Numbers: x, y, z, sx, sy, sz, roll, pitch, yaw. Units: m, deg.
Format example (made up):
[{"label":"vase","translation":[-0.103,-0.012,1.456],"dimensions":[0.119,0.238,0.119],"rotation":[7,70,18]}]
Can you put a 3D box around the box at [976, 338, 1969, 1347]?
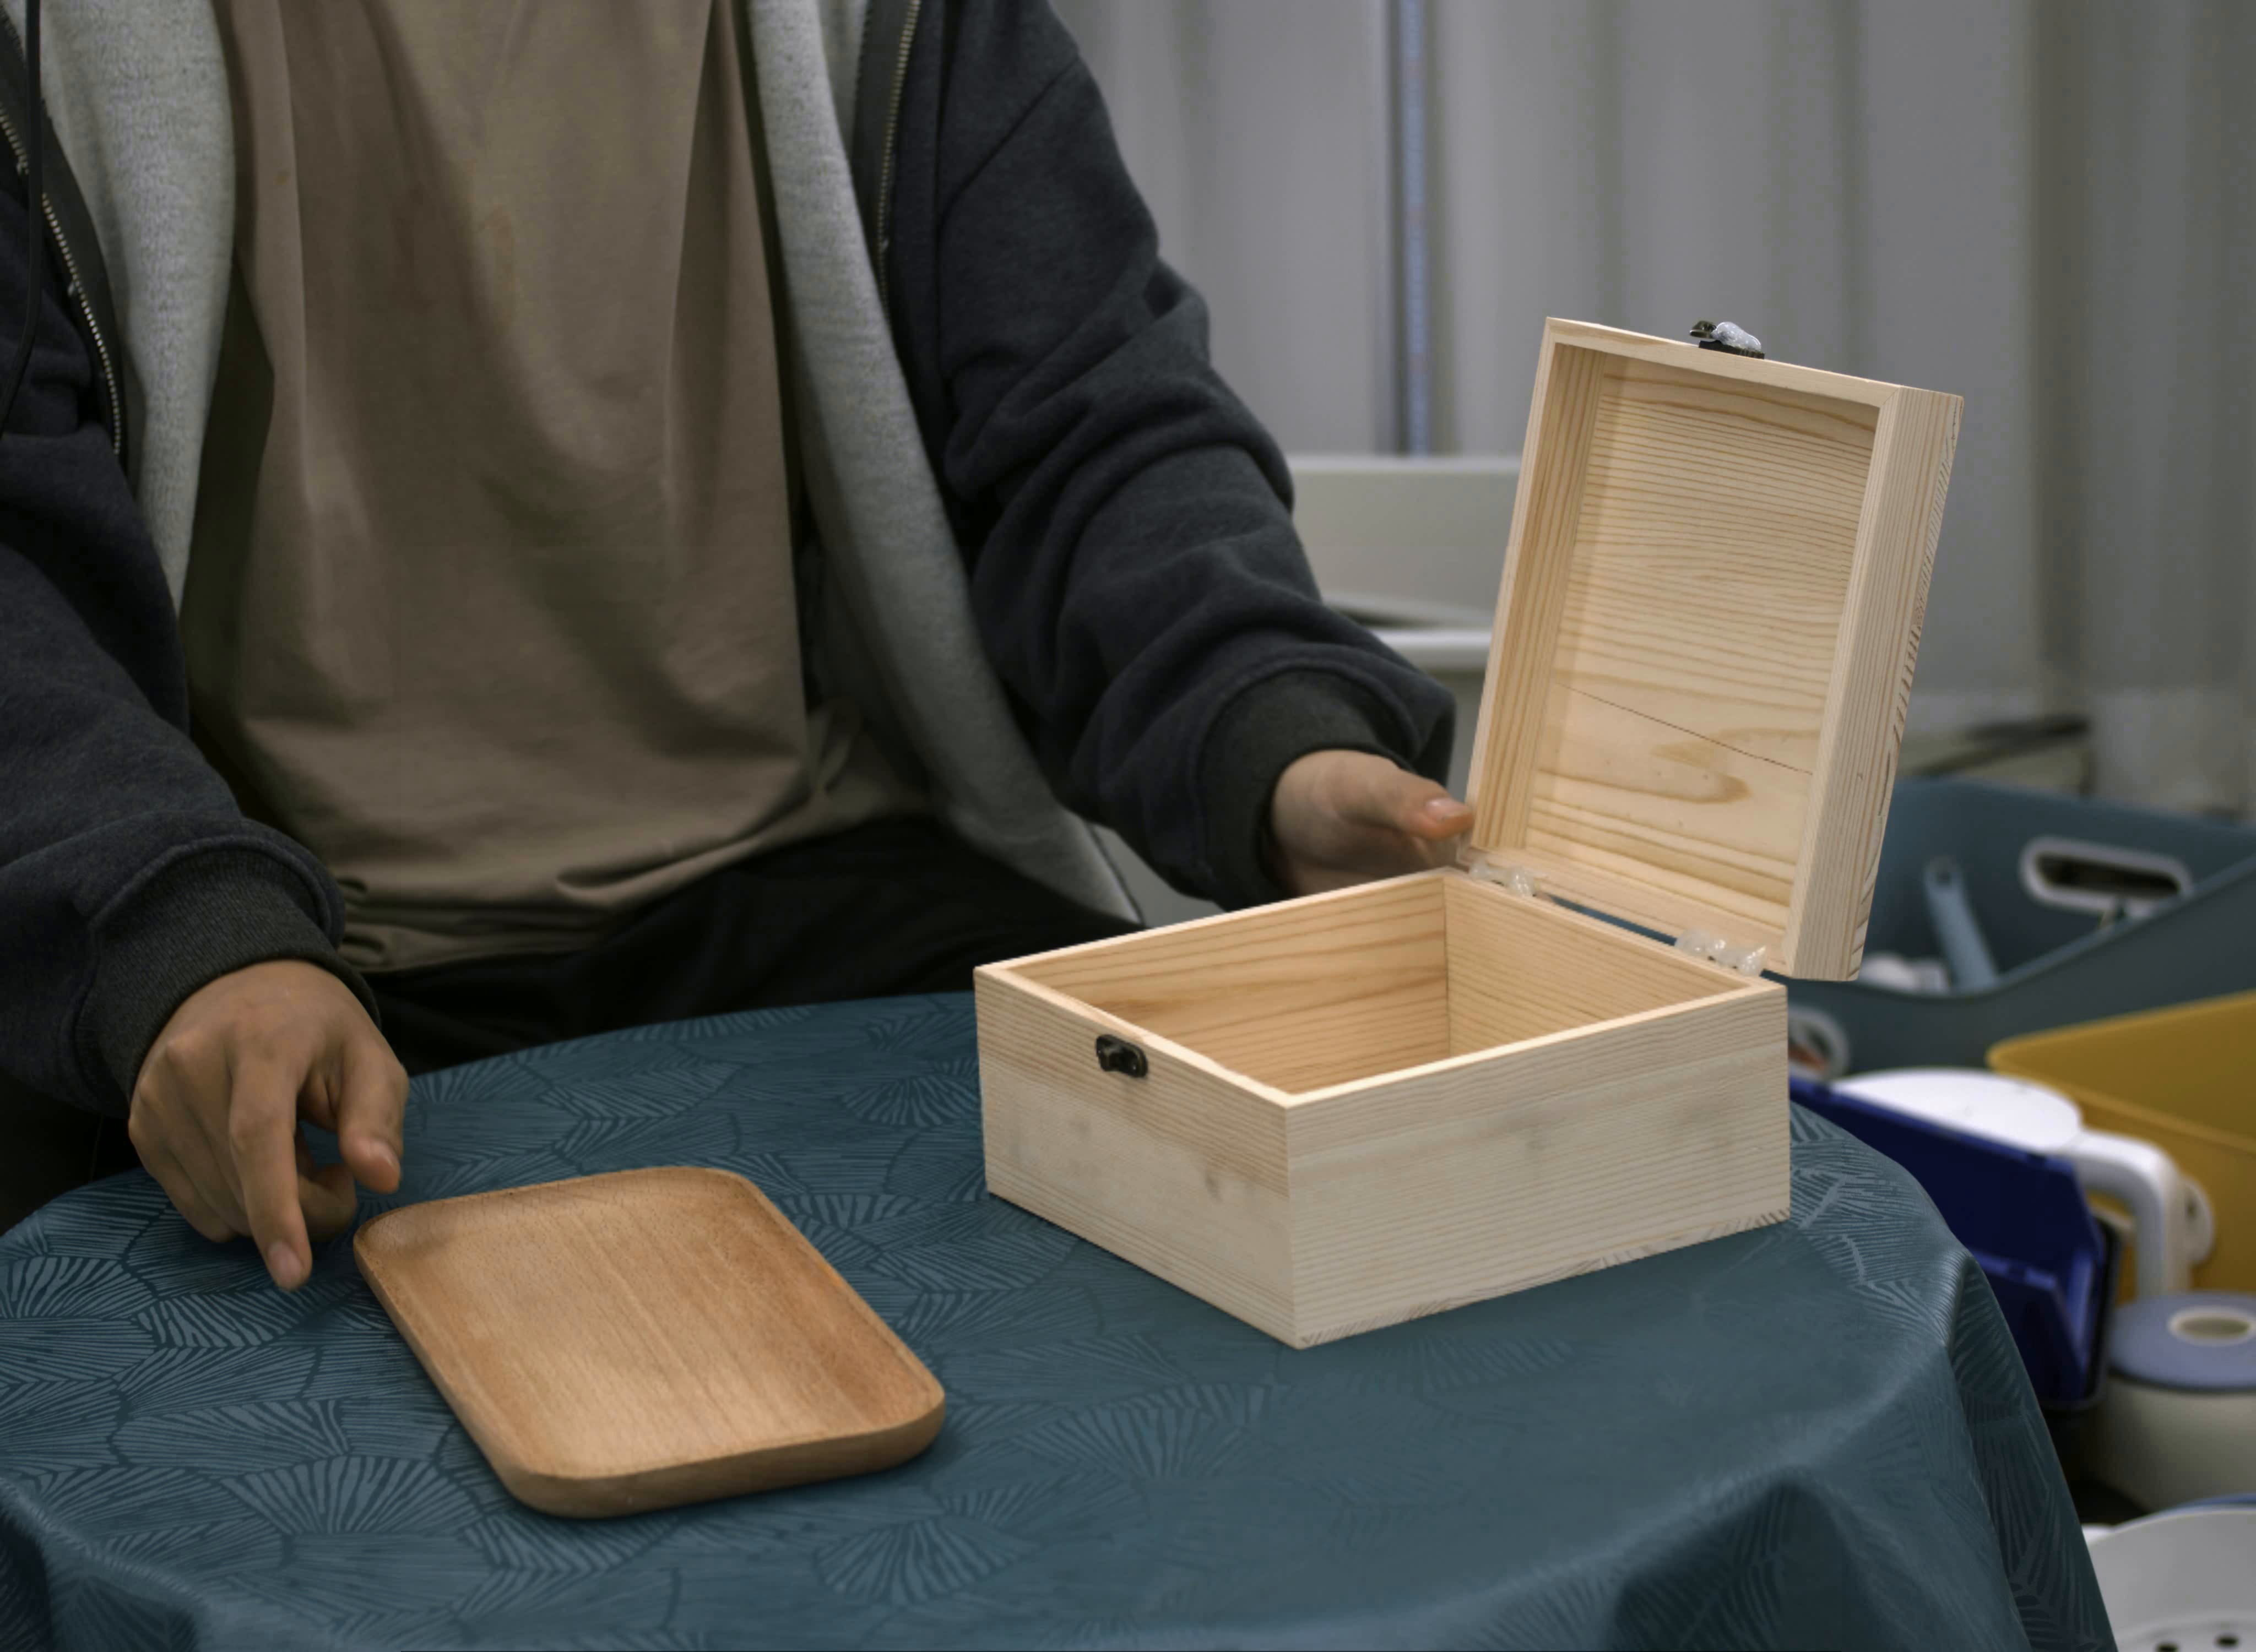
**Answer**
[{"label":"box","translation":[0.102,-0.006,1.680],"dimensions":[0.264,0.252,0.183],"rotation":[-10,13,-30]}]

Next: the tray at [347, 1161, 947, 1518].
[{"label":"tray","translation":[-0.144,0.146,1.591],"dimensions":[0.130,0.023,0.252],"rotation":[-5,14,-18]}]
